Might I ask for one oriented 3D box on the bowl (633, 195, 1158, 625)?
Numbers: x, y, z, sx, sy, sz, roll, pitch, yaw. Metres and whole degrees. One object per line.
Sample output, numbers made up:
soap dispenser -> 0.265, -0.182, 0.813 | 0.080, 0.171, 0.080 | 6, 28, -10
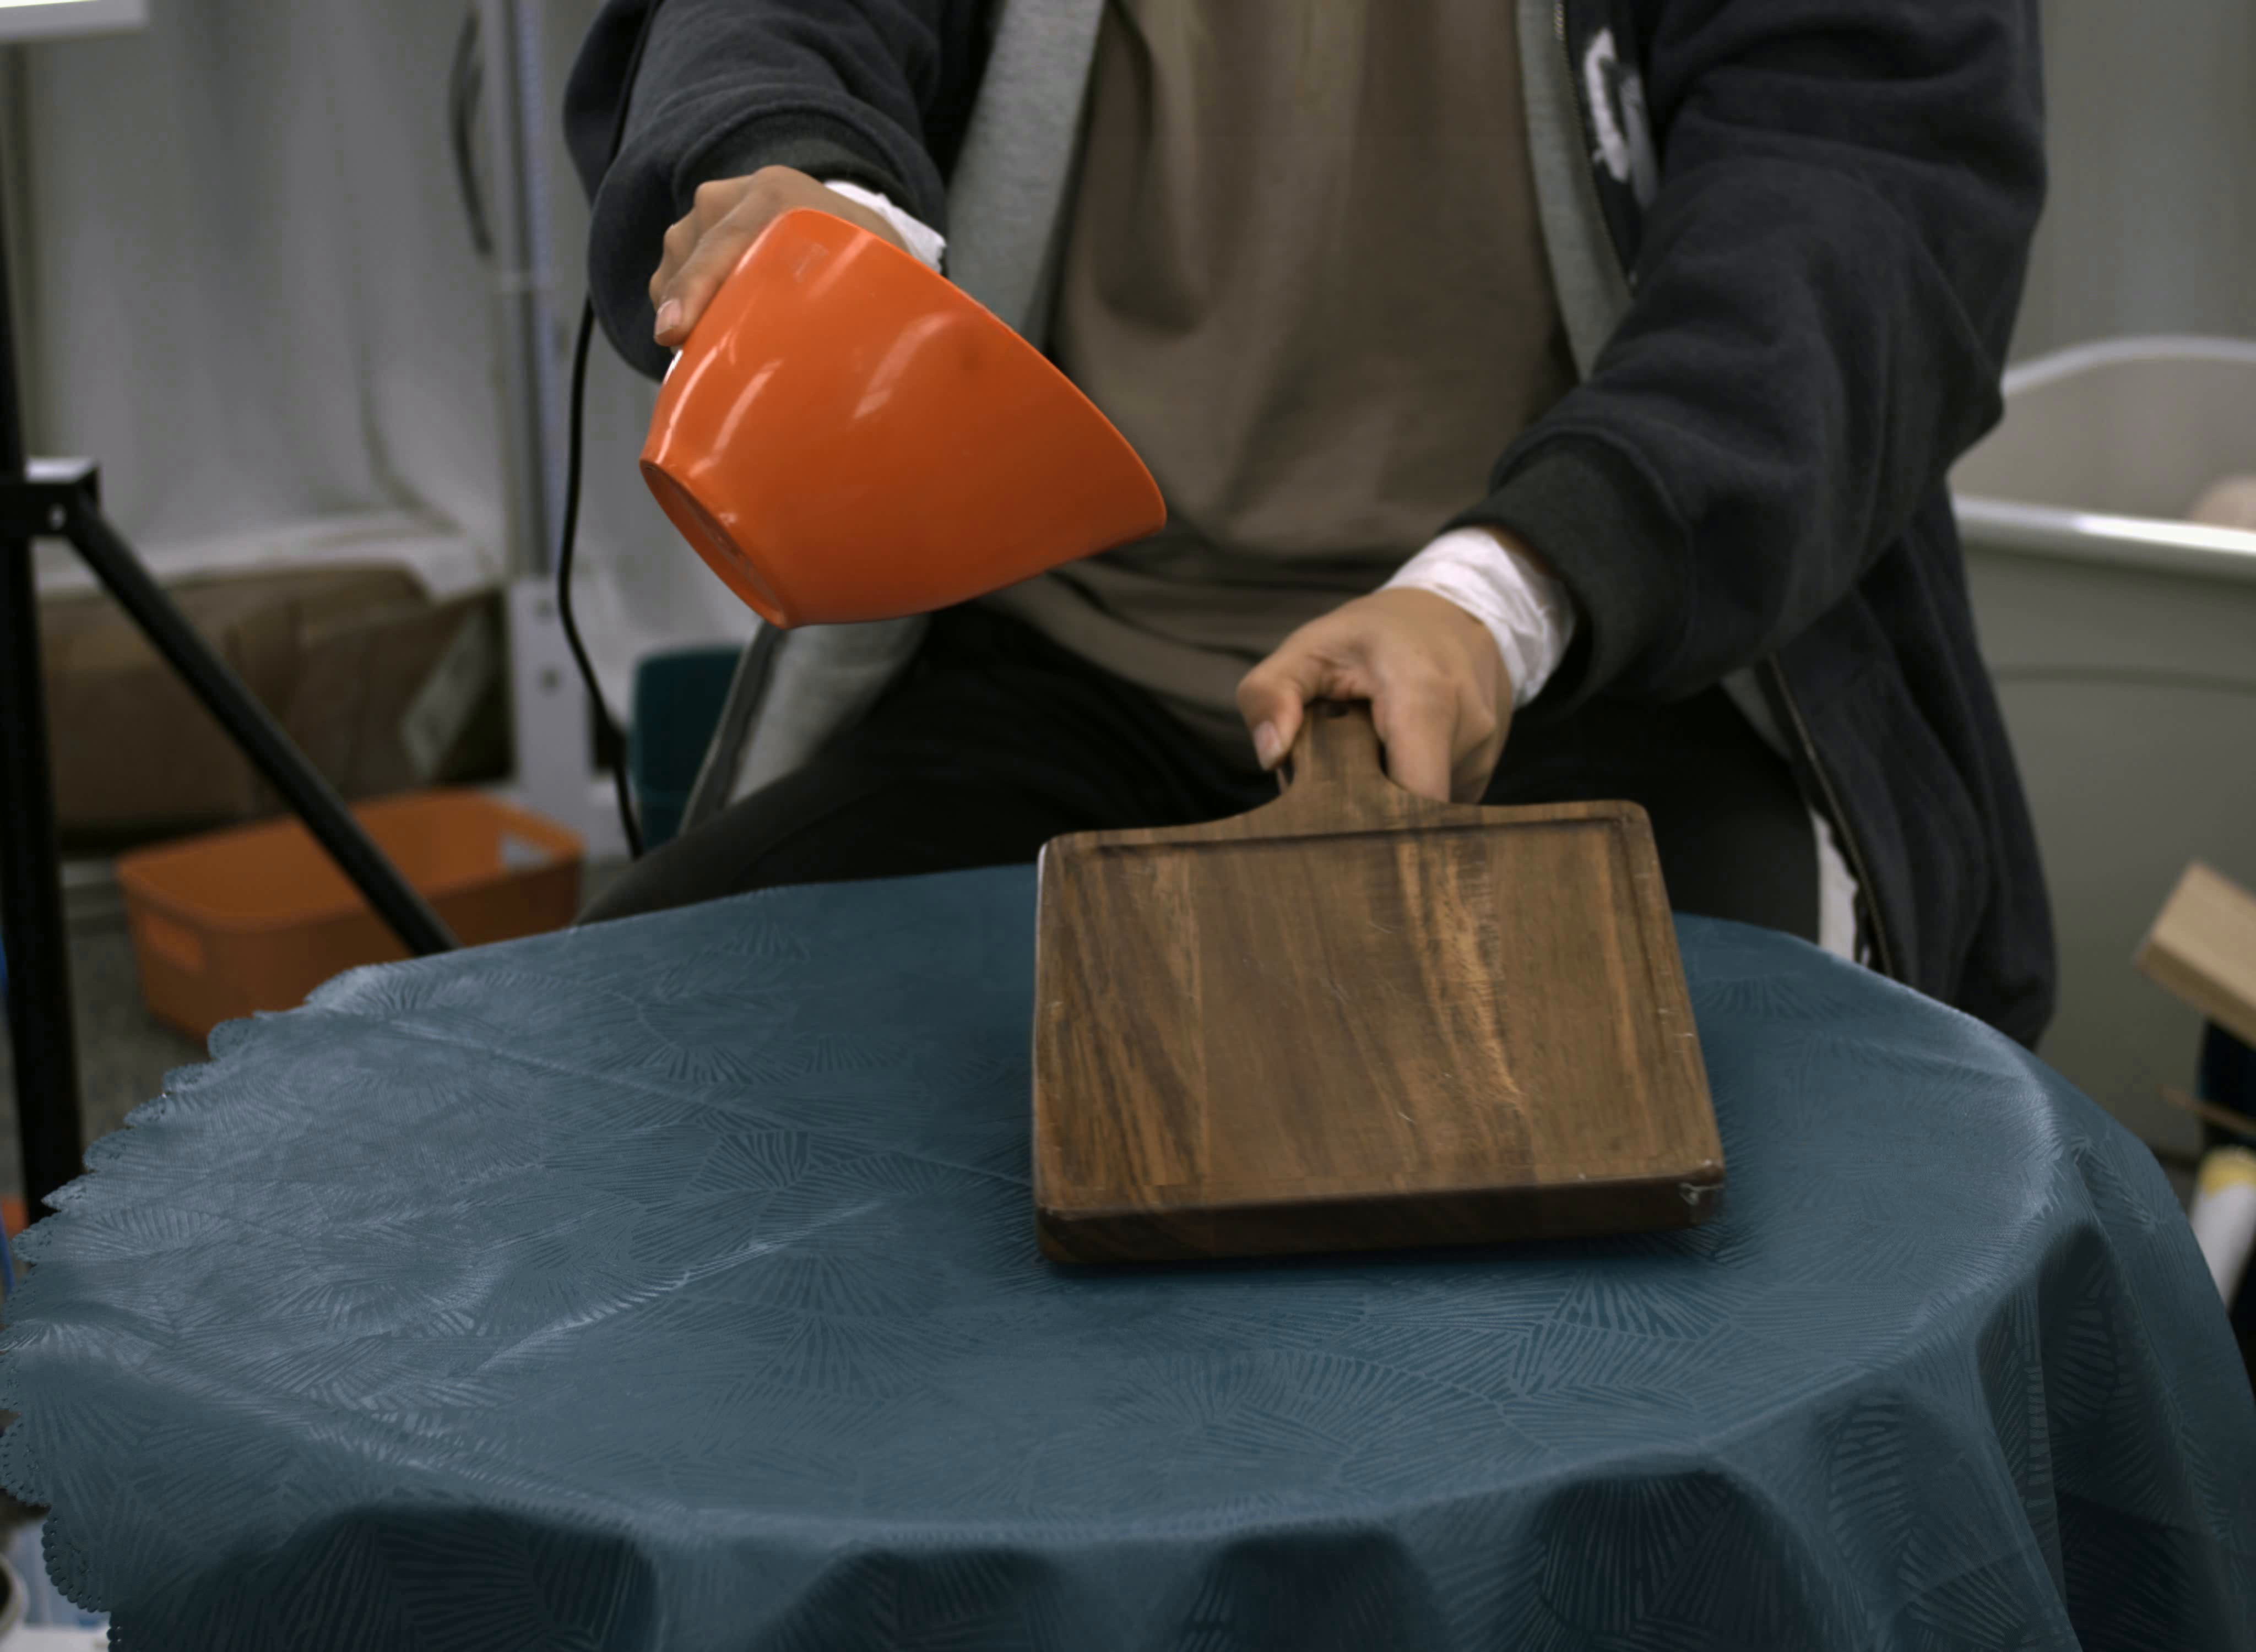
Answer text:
bowl -> -0.079, -0.109, 1.578 | 0.104, 0.146, 0.151 | -42, 27, -10

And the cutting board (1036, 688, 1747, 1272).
cutting board -> 0.072, 0.037, 1.638 | 0.200, 0.023, 0.354 | -4, 25, 2
